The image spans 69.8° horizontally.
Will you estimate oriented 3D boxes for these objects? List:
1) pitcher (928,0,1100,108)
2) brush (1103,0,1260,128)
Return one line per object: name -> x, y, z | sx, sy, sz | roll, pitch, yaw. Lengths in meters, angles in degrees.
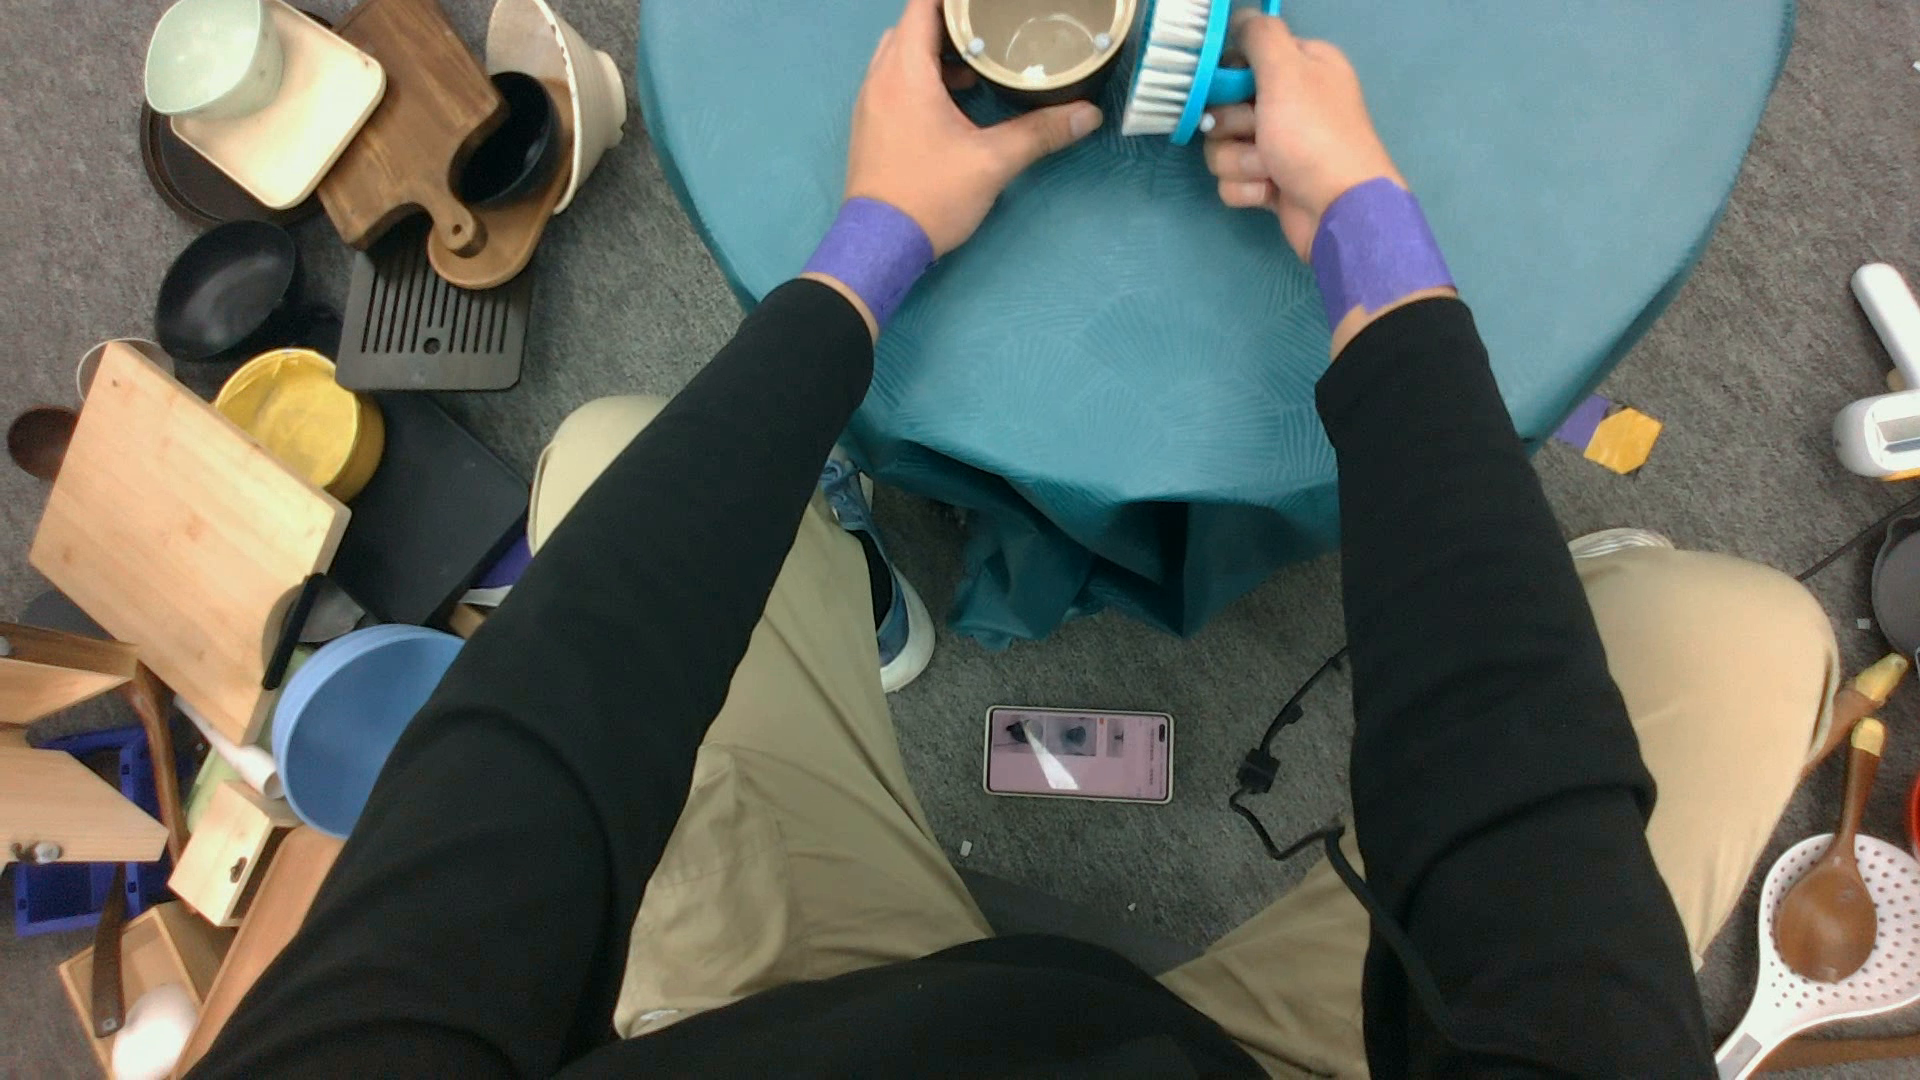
pitcher -> 0.031, -0.262, 0.690 | 0.083, 0.071, 0.096 | 13, 82, 11
brush -> 0.114, -0.261, 0.672 | 0.064, 0.084, 0.142 | 14, 63, -3
